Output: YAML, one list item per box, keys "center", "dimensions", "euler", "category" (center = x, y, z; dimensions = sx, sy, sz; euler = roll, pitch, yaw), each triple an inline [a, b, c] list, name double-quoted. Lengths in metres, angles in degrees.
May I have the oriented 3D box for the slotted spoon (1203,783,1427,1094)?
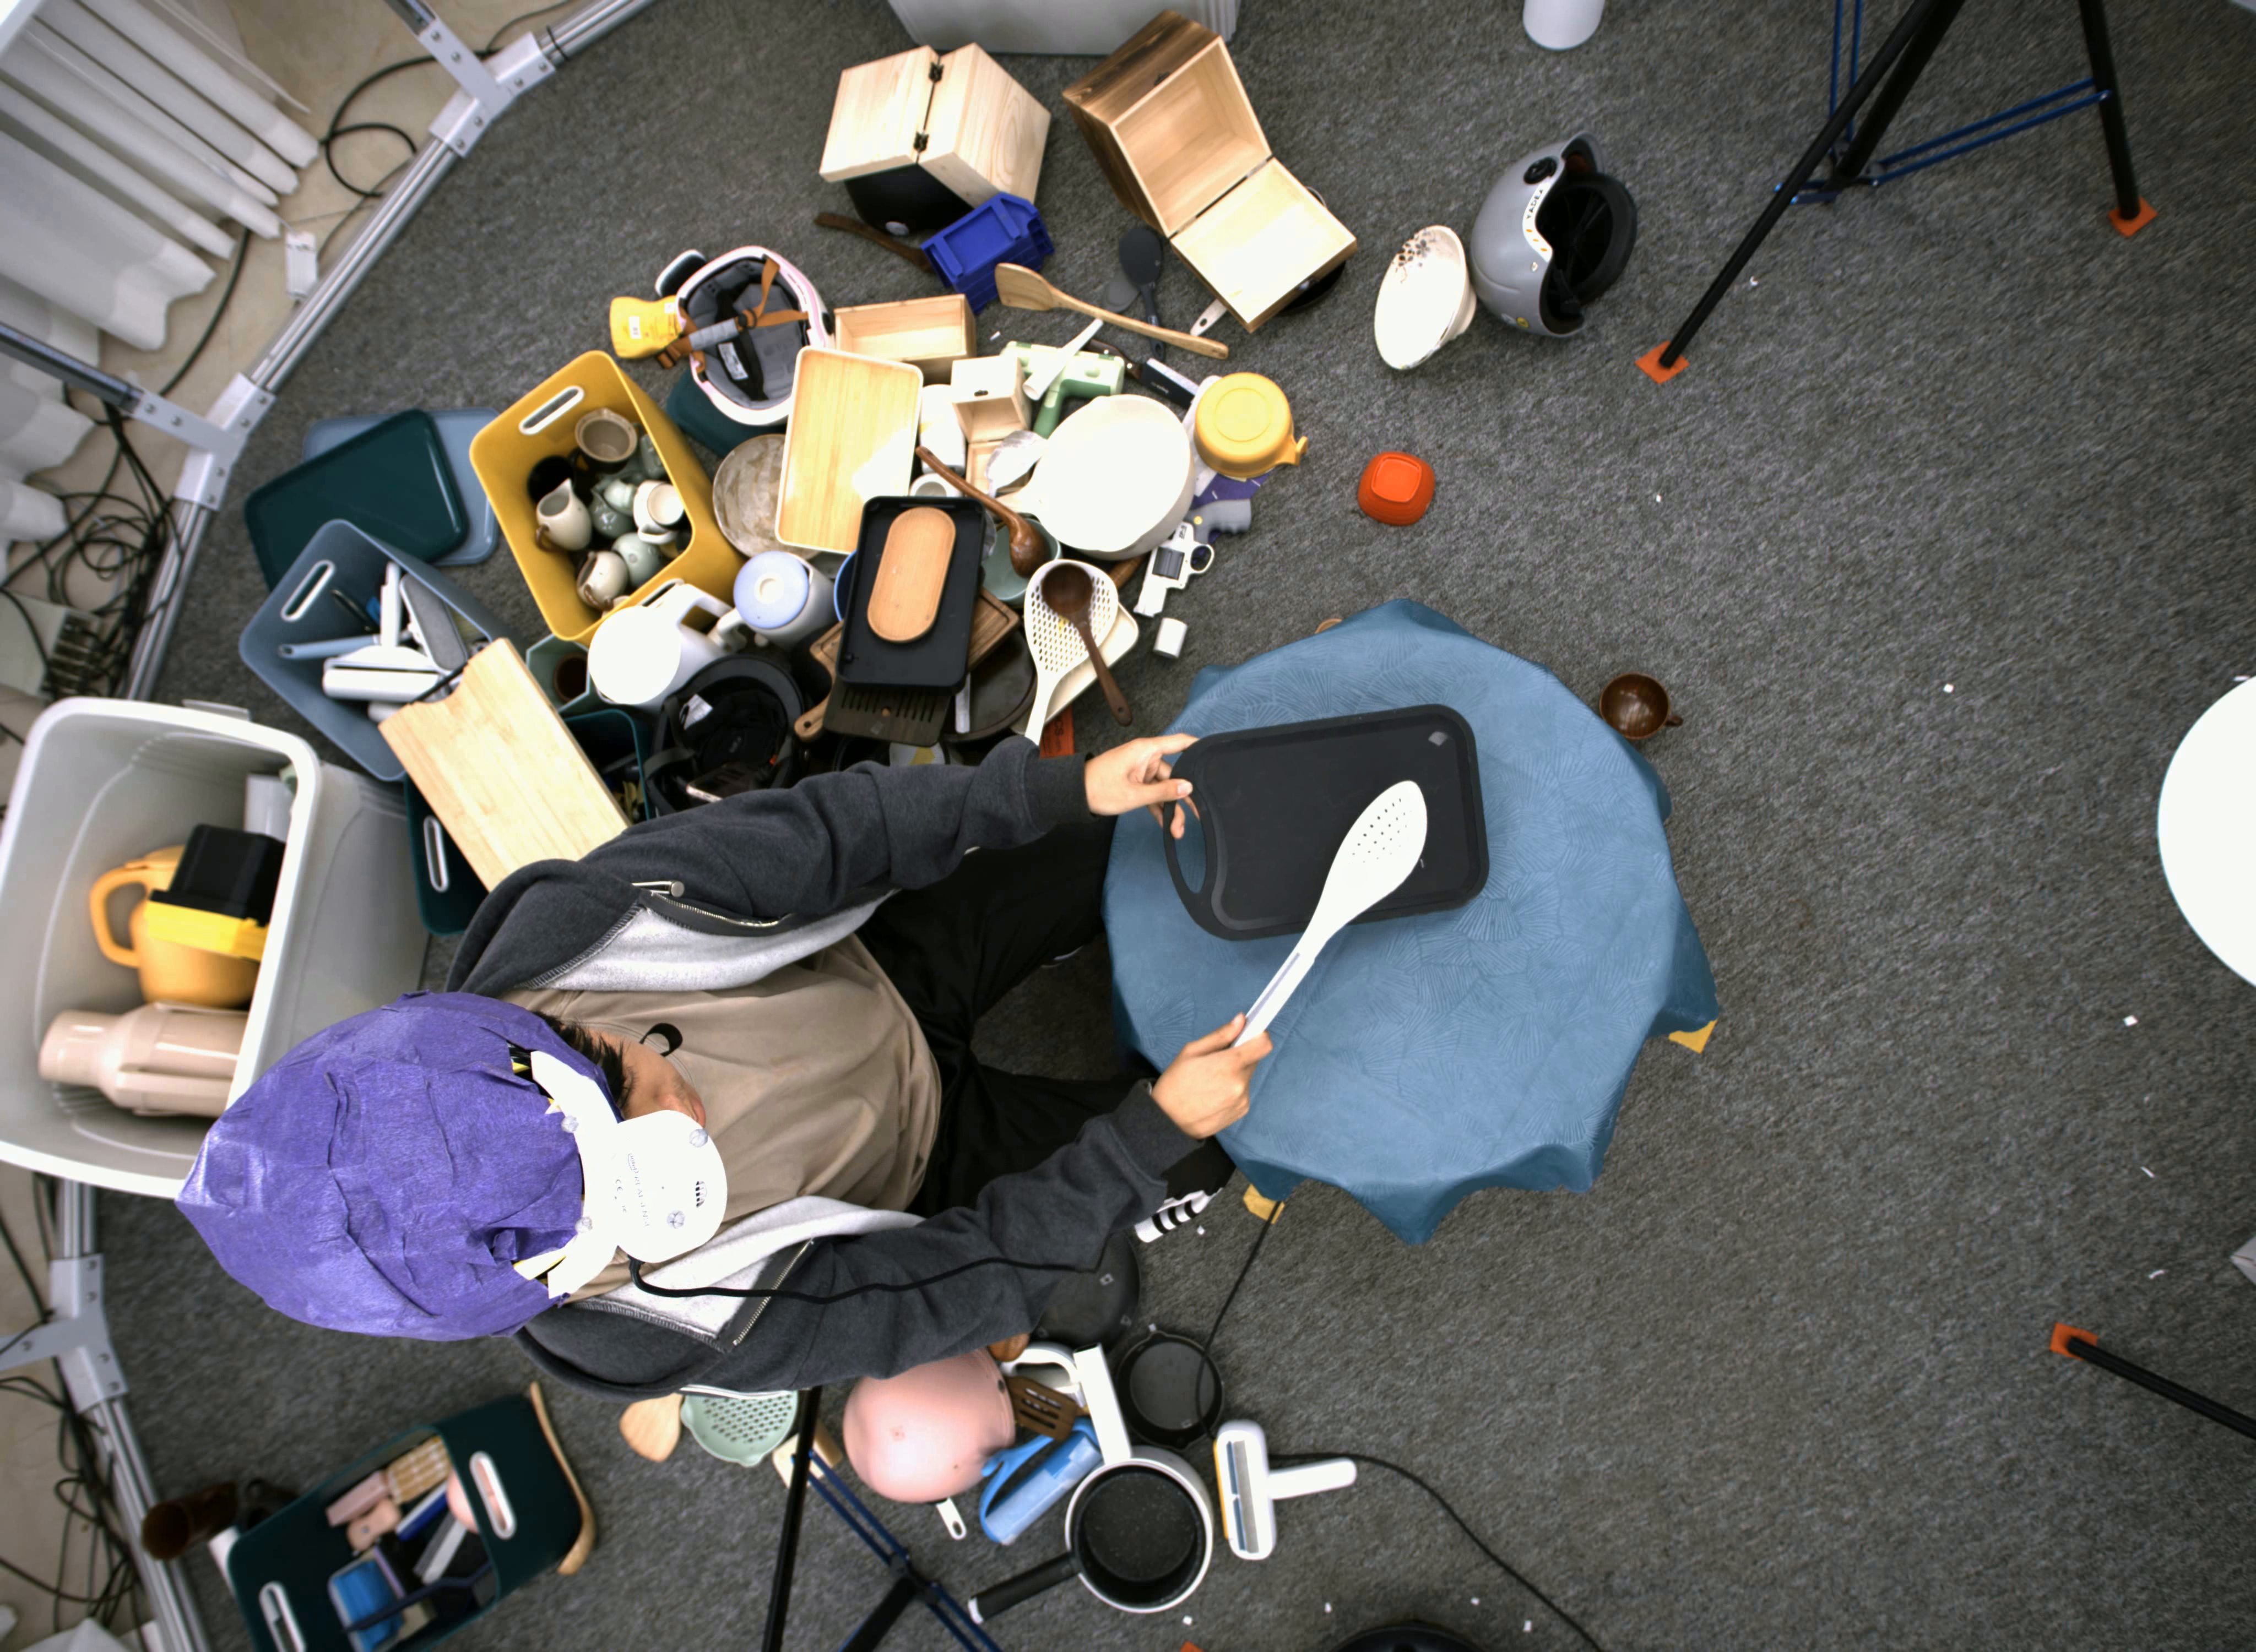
- center: [0.175, 0.109, 1.305]
  dimensions: [0.046, 0.134, 0.352]
  euler: [36, 99, -13]
  category: "slotted spoon"

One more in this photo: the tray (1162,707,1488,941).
- center: [0.196, -0.001, 1.376]
  dimensions: [0.325, 0.010, 0.212]
  euler: [-8, 98, -2]
  category: "tray"
